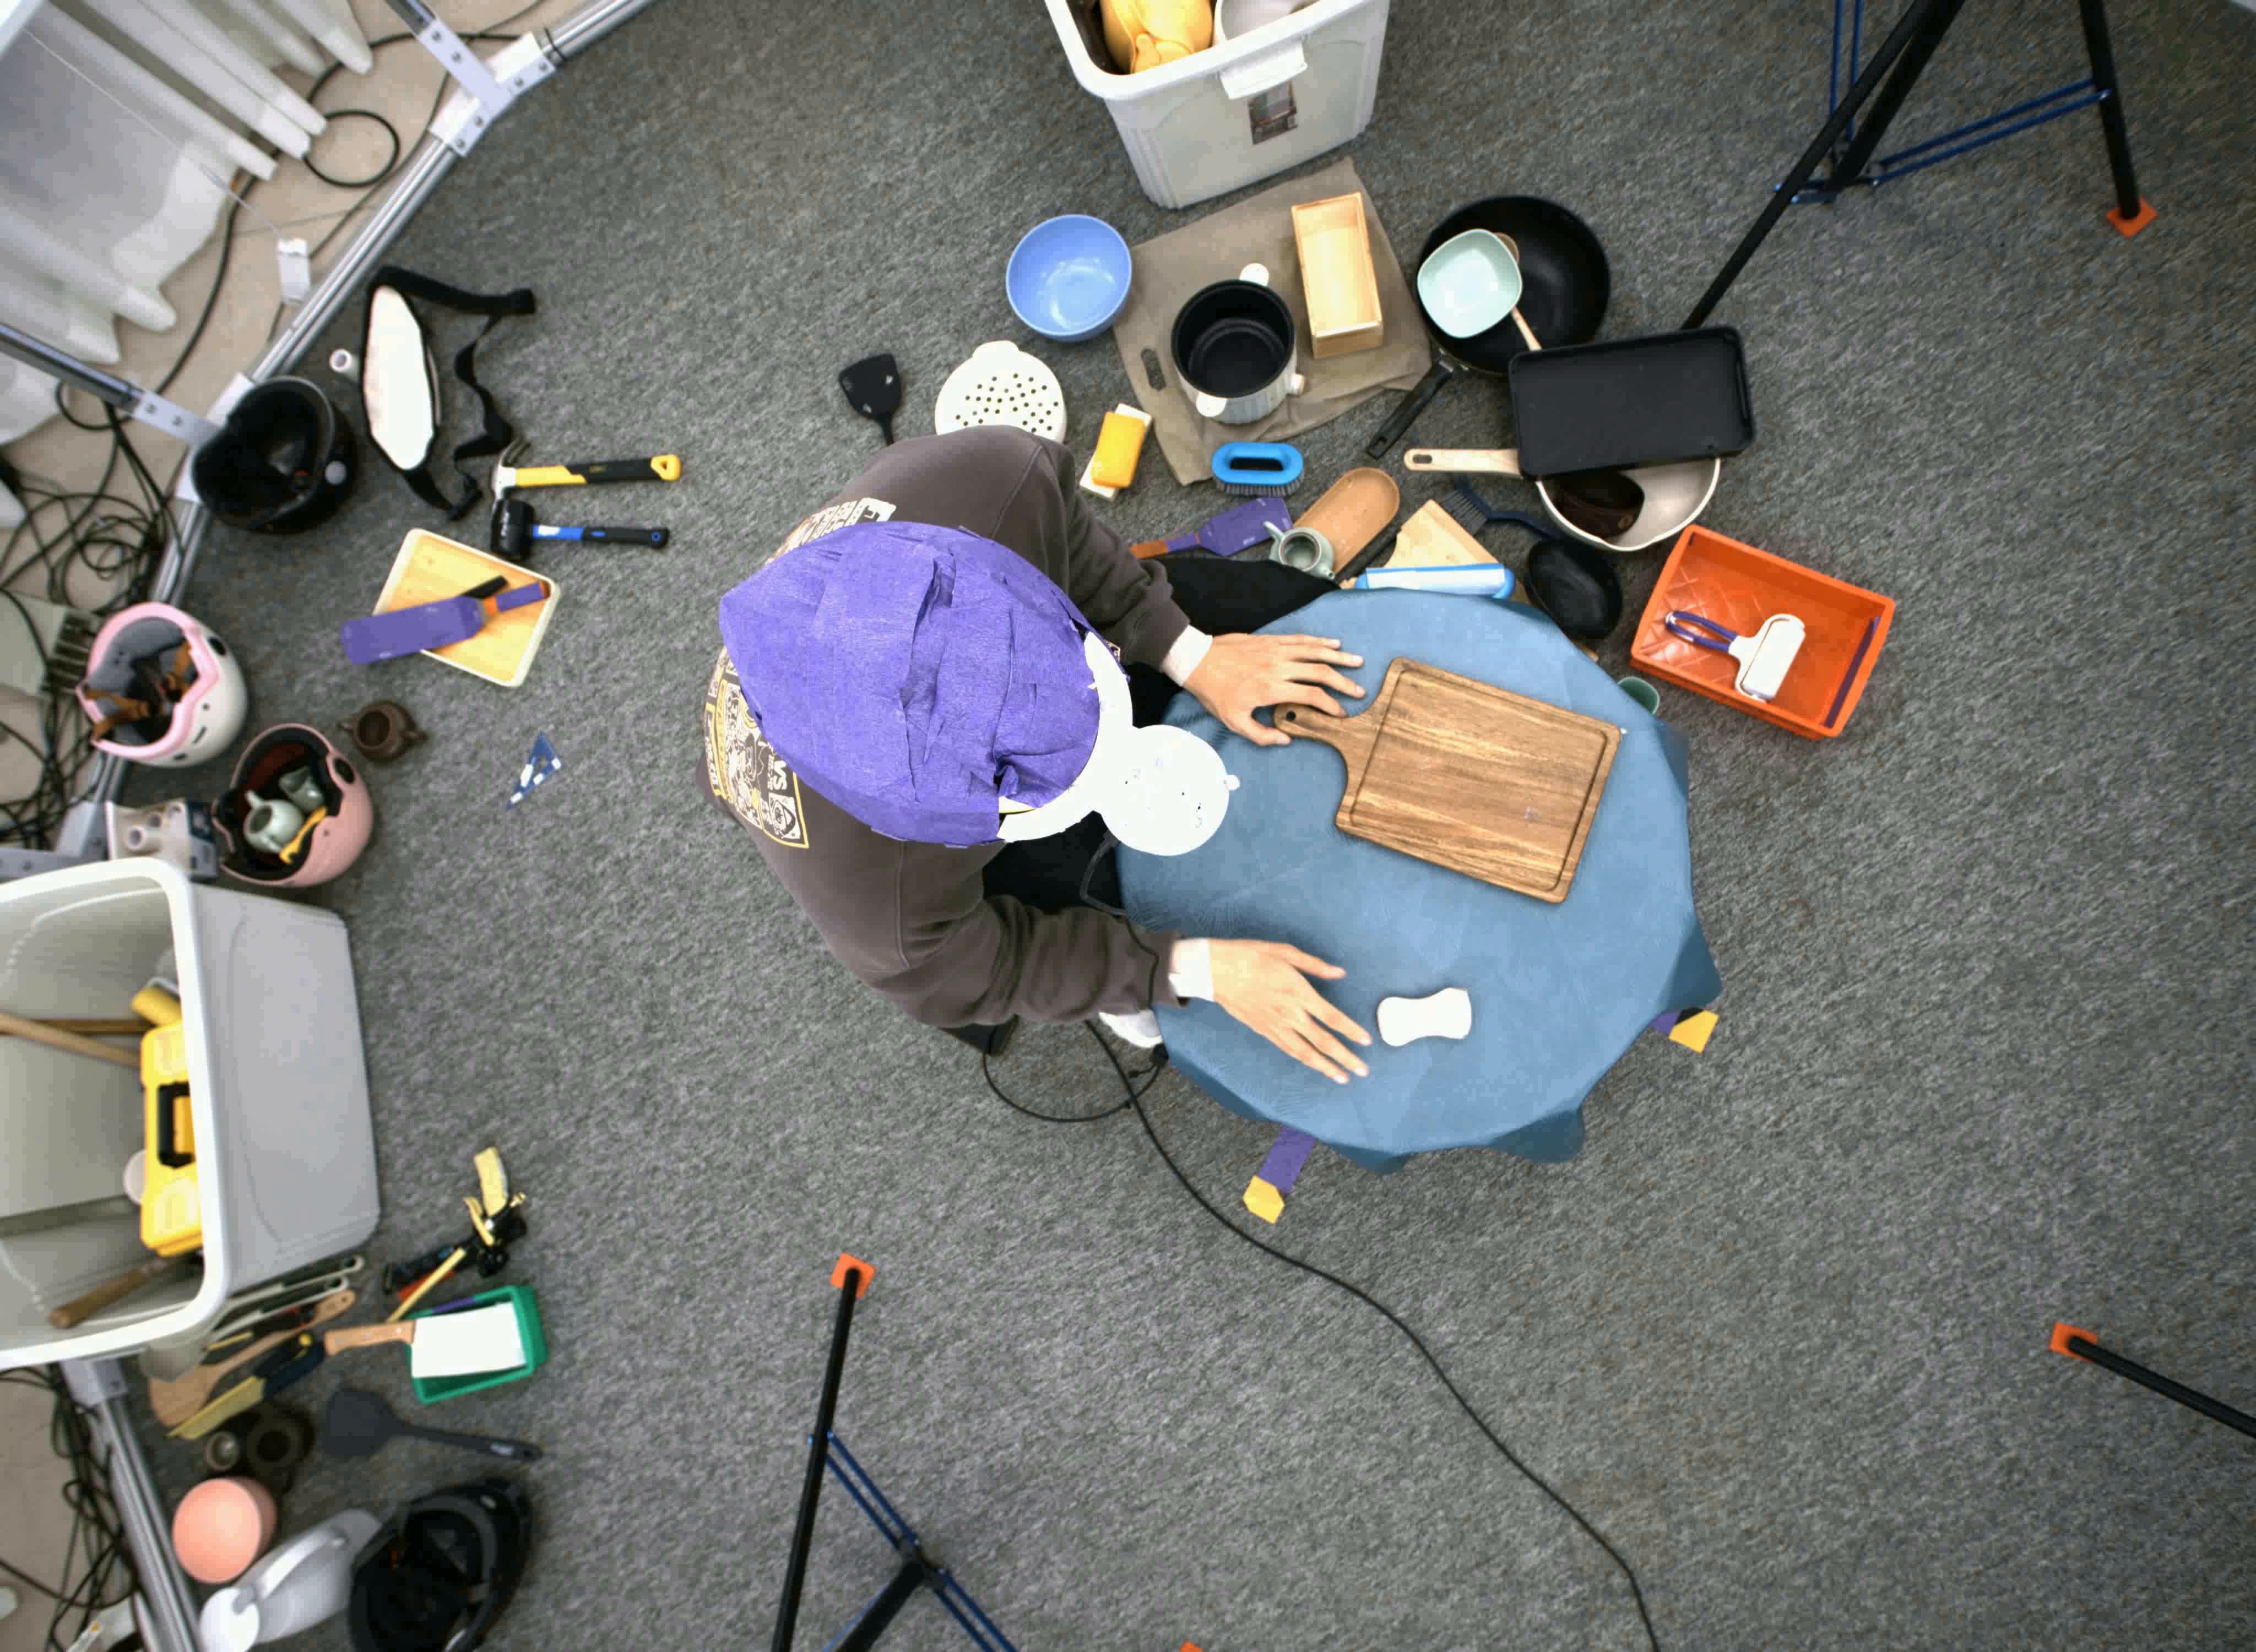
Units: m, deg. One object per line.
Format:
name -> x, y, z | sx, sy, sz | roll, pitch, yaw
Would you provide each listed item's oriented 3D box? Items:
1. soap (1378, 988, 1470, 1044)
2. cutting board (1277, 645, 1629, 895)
soap -> 0.306, 0.195, 1.431 | 0.095, 0.030, 0.050 | -9, 84, 11
cutting board -> 0.325, -0.079, 1.444 | 0.352, 0.023, 0.201 | 20, 91, 11
